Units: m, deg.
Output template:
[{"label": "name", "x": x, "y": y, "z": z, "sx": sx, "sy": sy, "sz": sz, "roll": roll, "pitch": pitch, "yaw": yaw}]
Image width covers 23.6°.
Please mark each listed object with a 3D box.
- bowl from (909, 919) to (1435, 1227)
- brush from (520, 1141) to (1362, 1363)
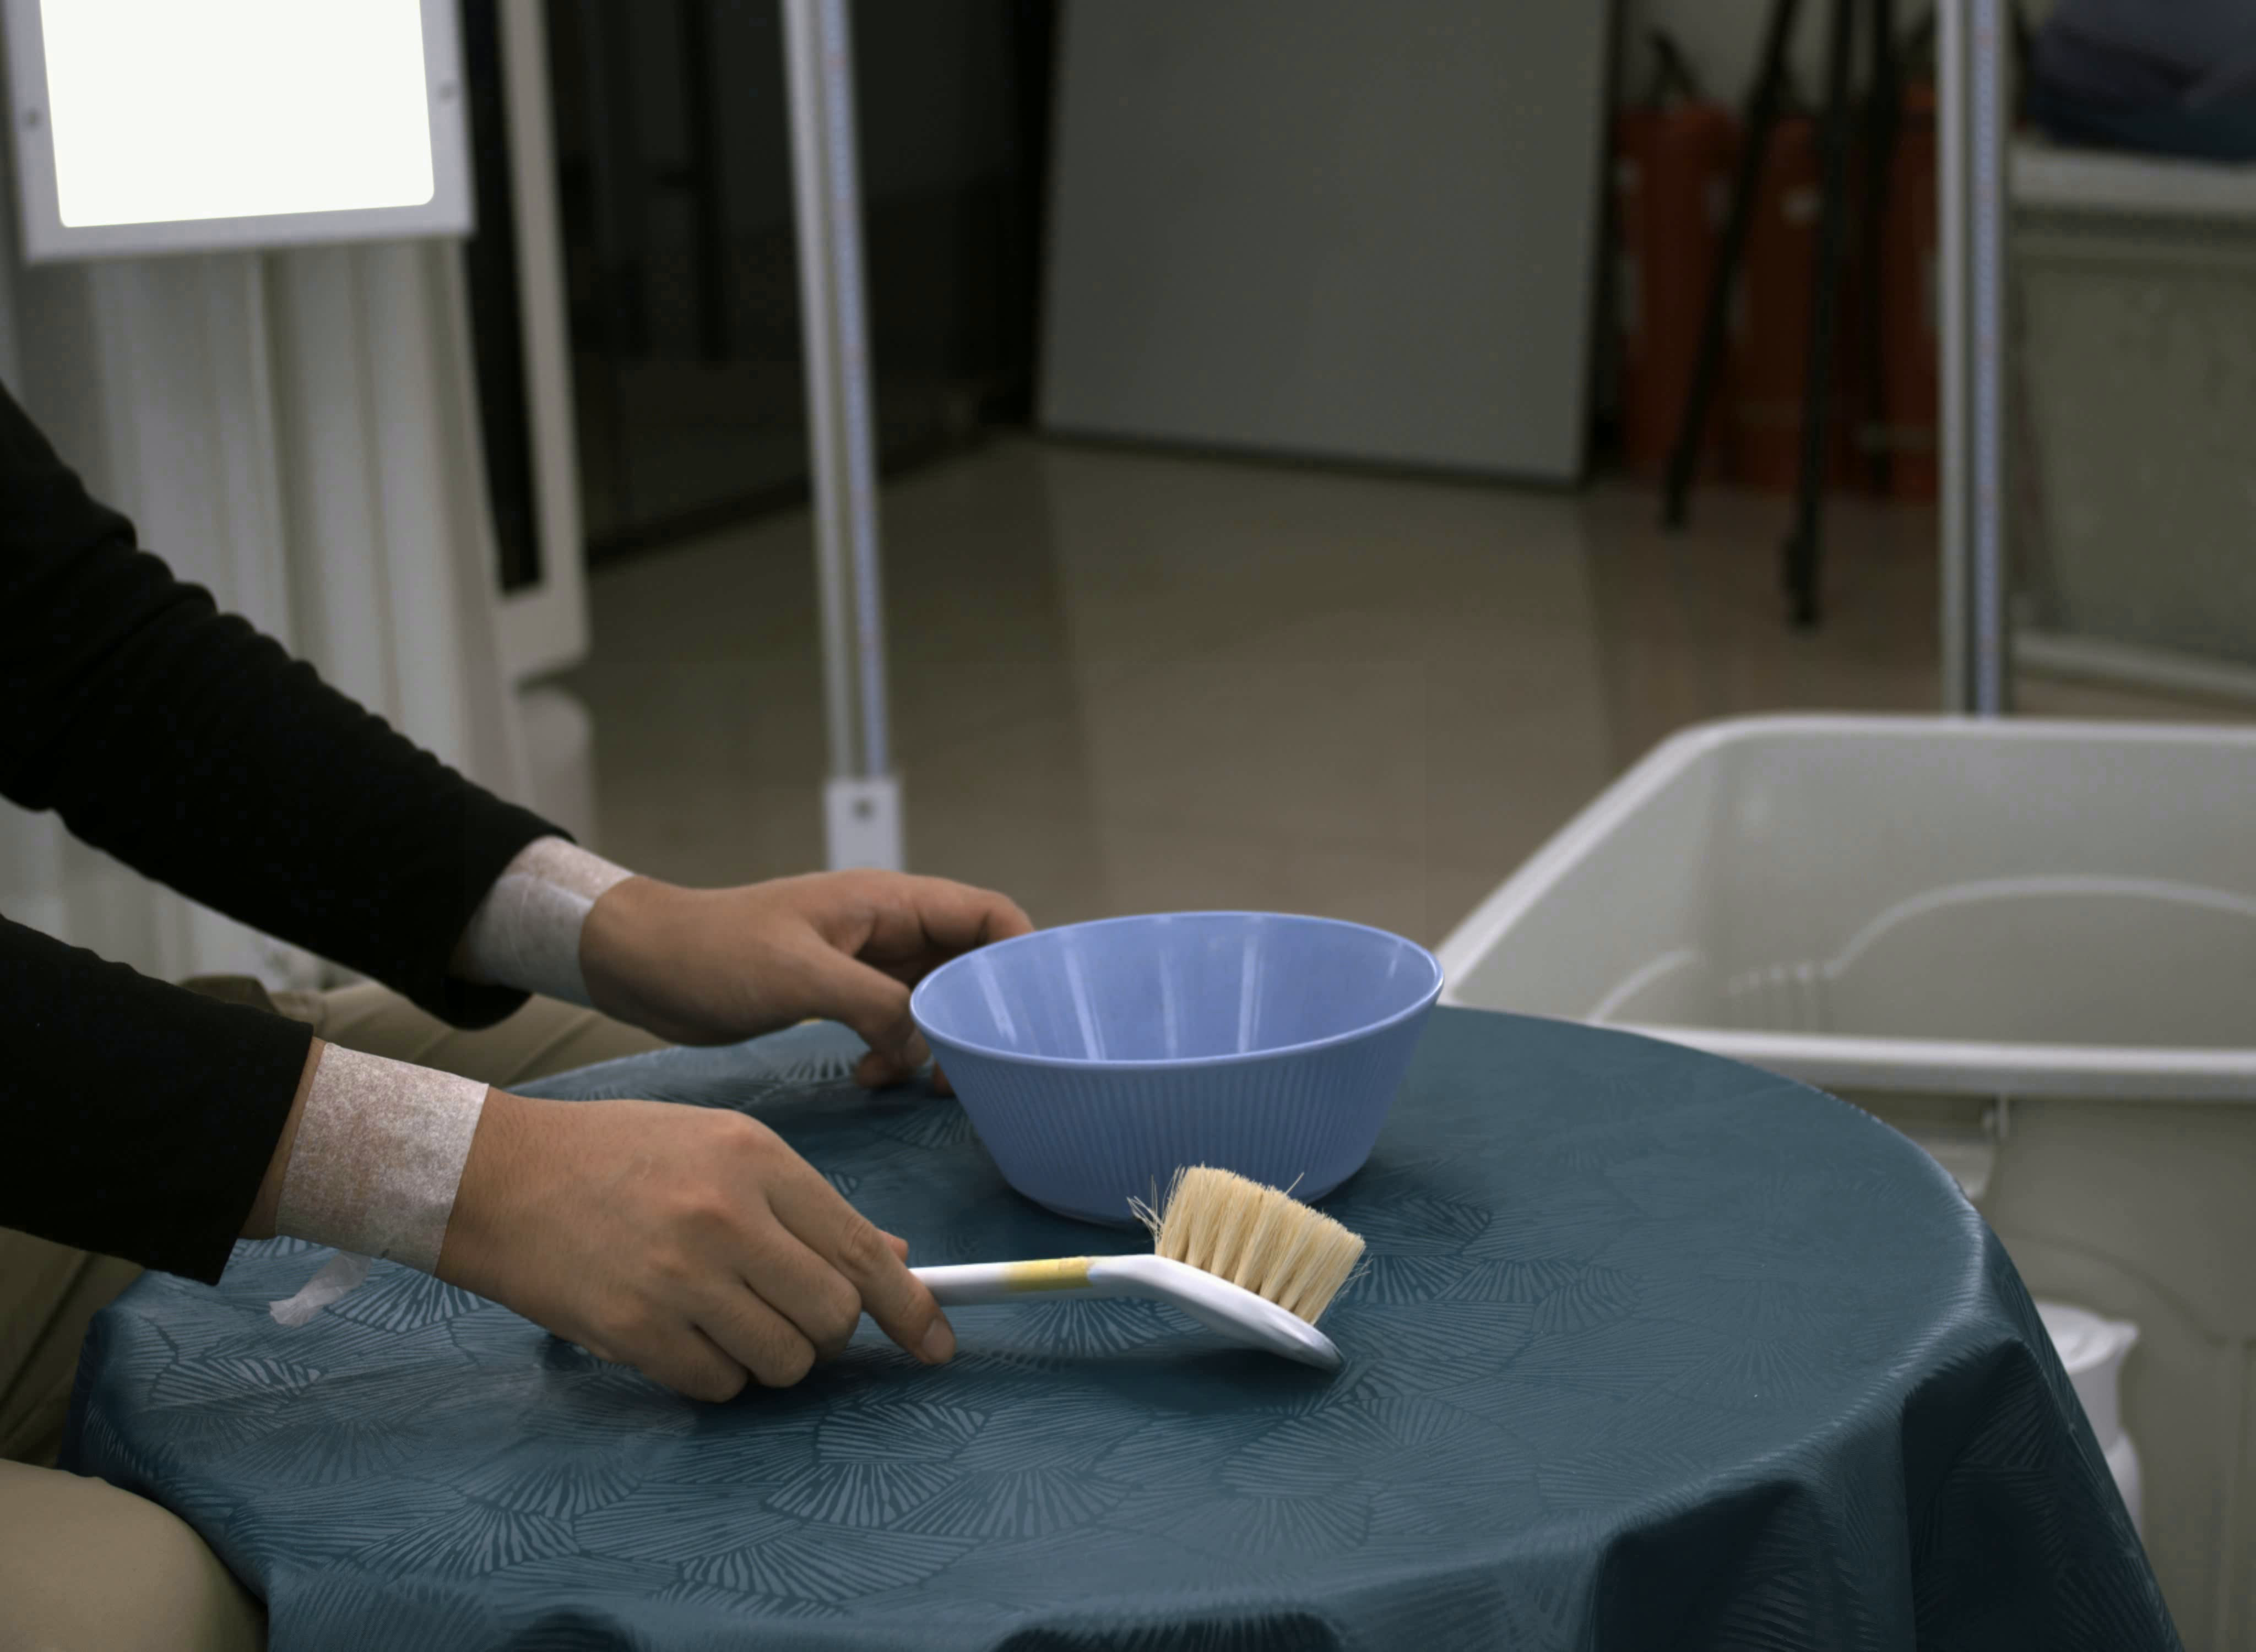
[{"label": "bowl", "x": 0.016, "y": 0.083, "z": 1.770, "sx": 0.174, "sy": 0.071, "sz": 0.176, "roll": -5, "pitch": 13, "yaw": 0}, {"label": "brush", "x": -0.059, "y": 0.129, "z": 1.621, "sx": 0.266, "sy": 0.057, "sz": 0.068, "roll": -1, "pitch": -24, "yaw": 21}]
